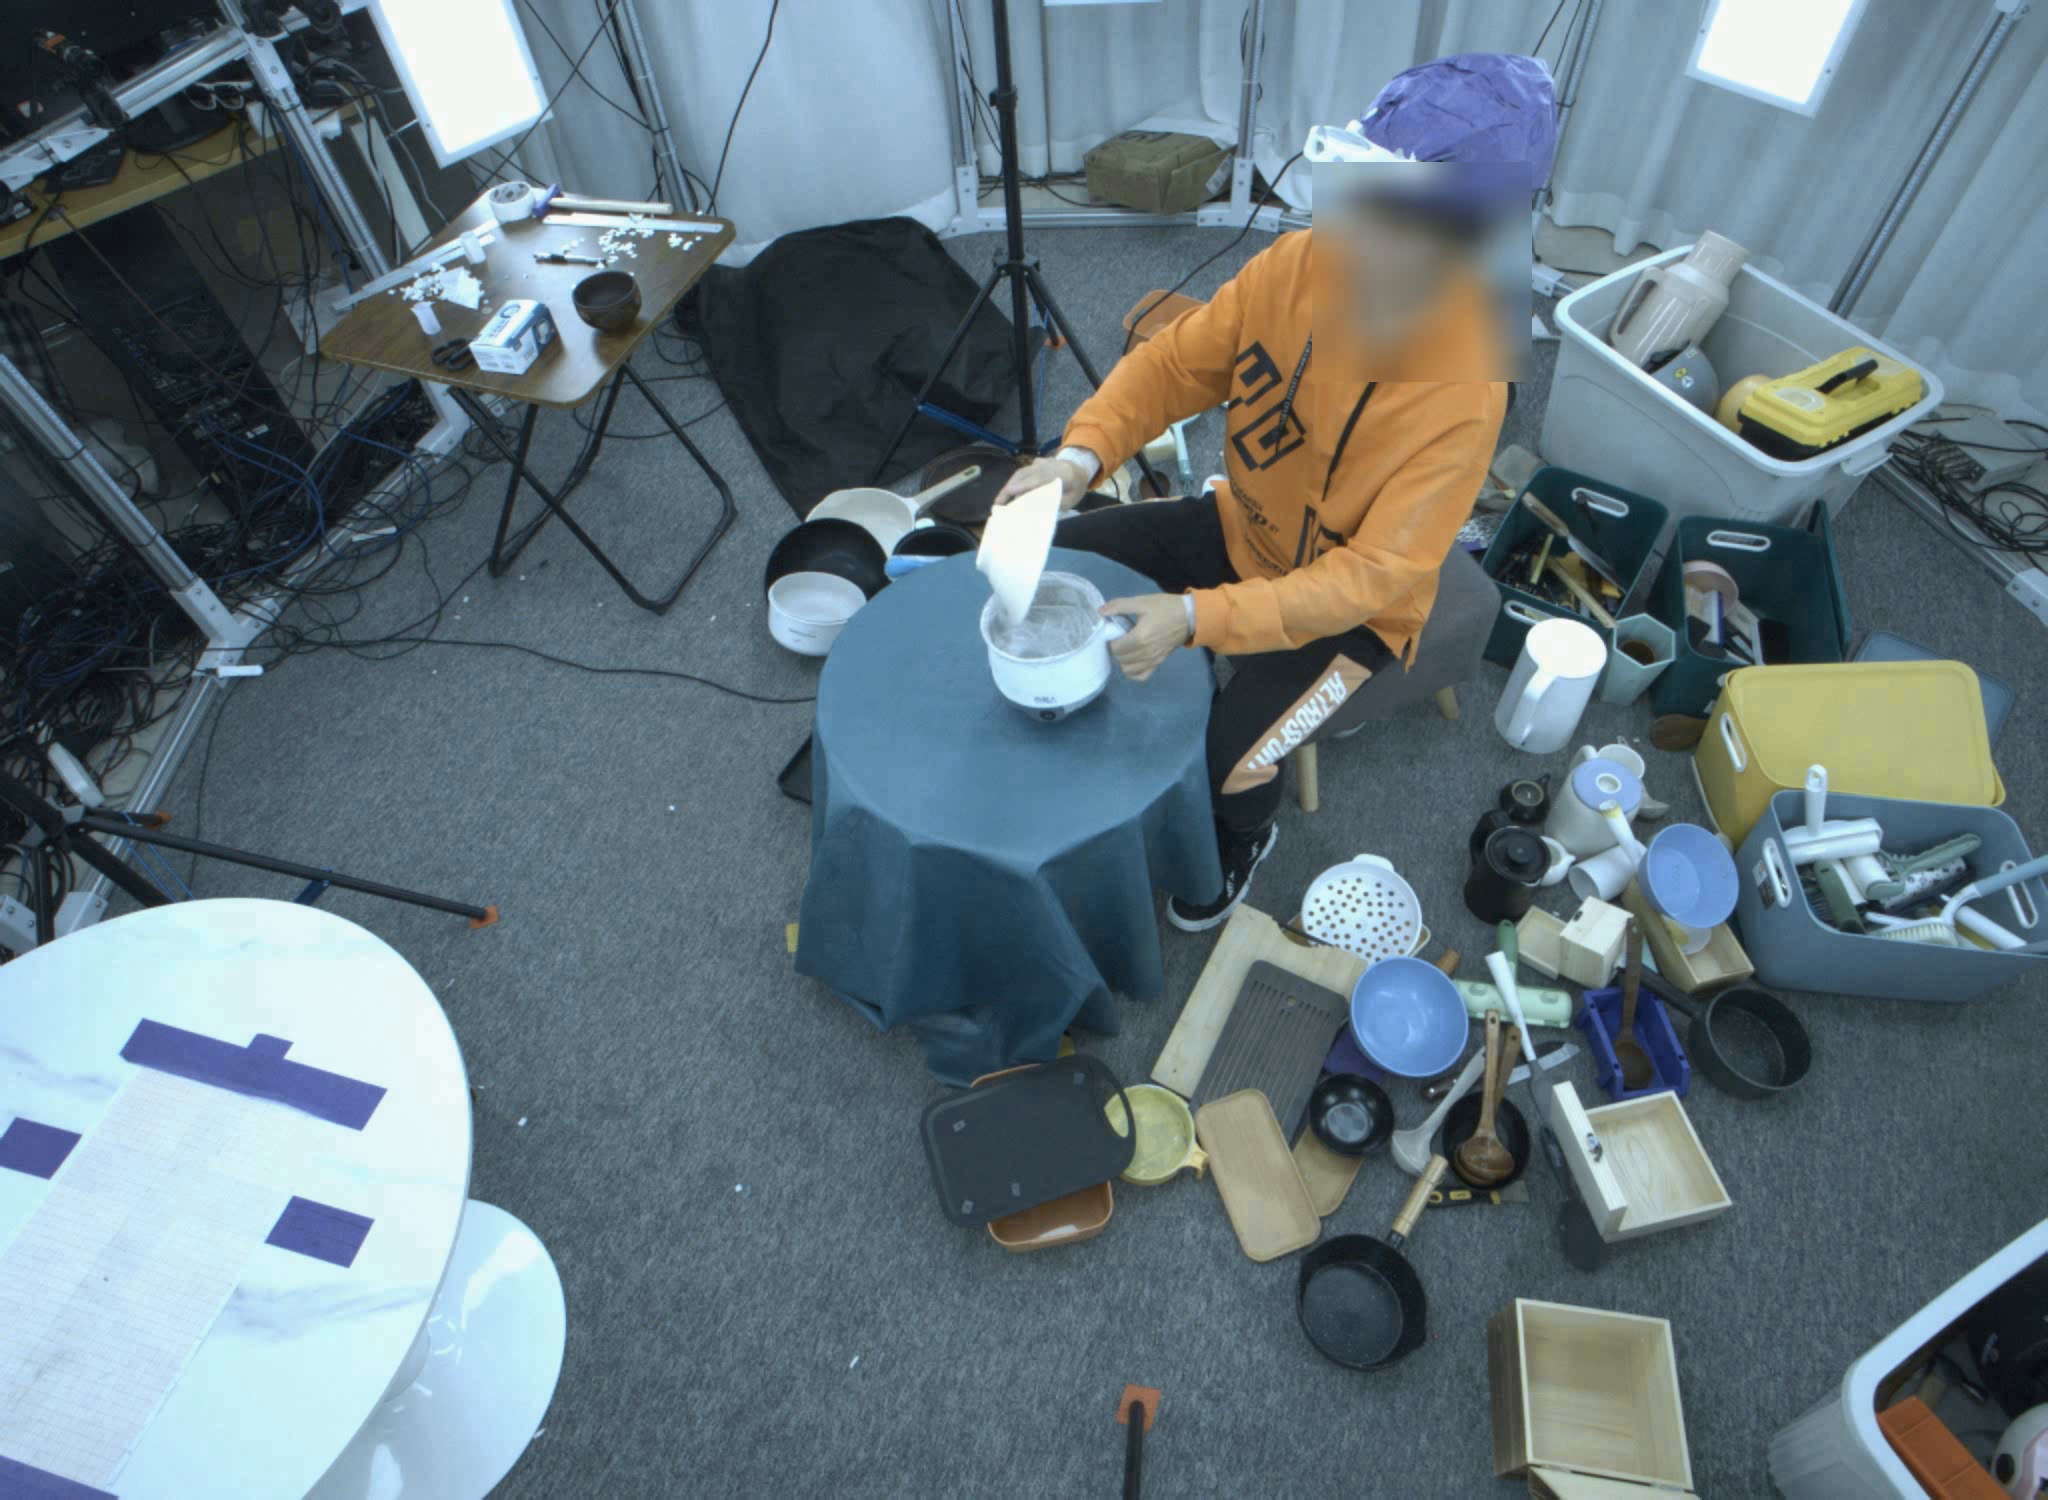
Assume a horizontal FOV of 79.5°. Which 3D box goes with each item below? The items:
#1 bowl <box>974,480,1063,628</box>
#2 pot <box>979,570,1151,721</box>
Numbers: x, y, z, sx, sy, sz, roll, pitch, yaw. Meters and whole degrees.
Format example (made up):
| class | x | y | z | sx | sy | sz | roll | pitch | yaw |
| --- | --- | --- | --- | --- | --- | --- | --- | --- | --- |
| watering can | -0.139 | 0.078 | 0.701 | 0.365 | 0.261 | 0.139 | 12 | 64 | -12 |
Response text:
| class | x | y | z | sx | sy | sz | roll | pitch | yaw |
| --- | --- | --- | --- | --- | --- | --- | --- | --- | --- |
| bowl | -0.018 | -0.268 | 1.620 | 0.079 | 0.203 | 0.202 | 14 | 55 | -11 |
| pot | 0.062 | -0.150 | 1.754 | 0.232 | 0.138 | 0.177 | -2 | 54 | 9 |
